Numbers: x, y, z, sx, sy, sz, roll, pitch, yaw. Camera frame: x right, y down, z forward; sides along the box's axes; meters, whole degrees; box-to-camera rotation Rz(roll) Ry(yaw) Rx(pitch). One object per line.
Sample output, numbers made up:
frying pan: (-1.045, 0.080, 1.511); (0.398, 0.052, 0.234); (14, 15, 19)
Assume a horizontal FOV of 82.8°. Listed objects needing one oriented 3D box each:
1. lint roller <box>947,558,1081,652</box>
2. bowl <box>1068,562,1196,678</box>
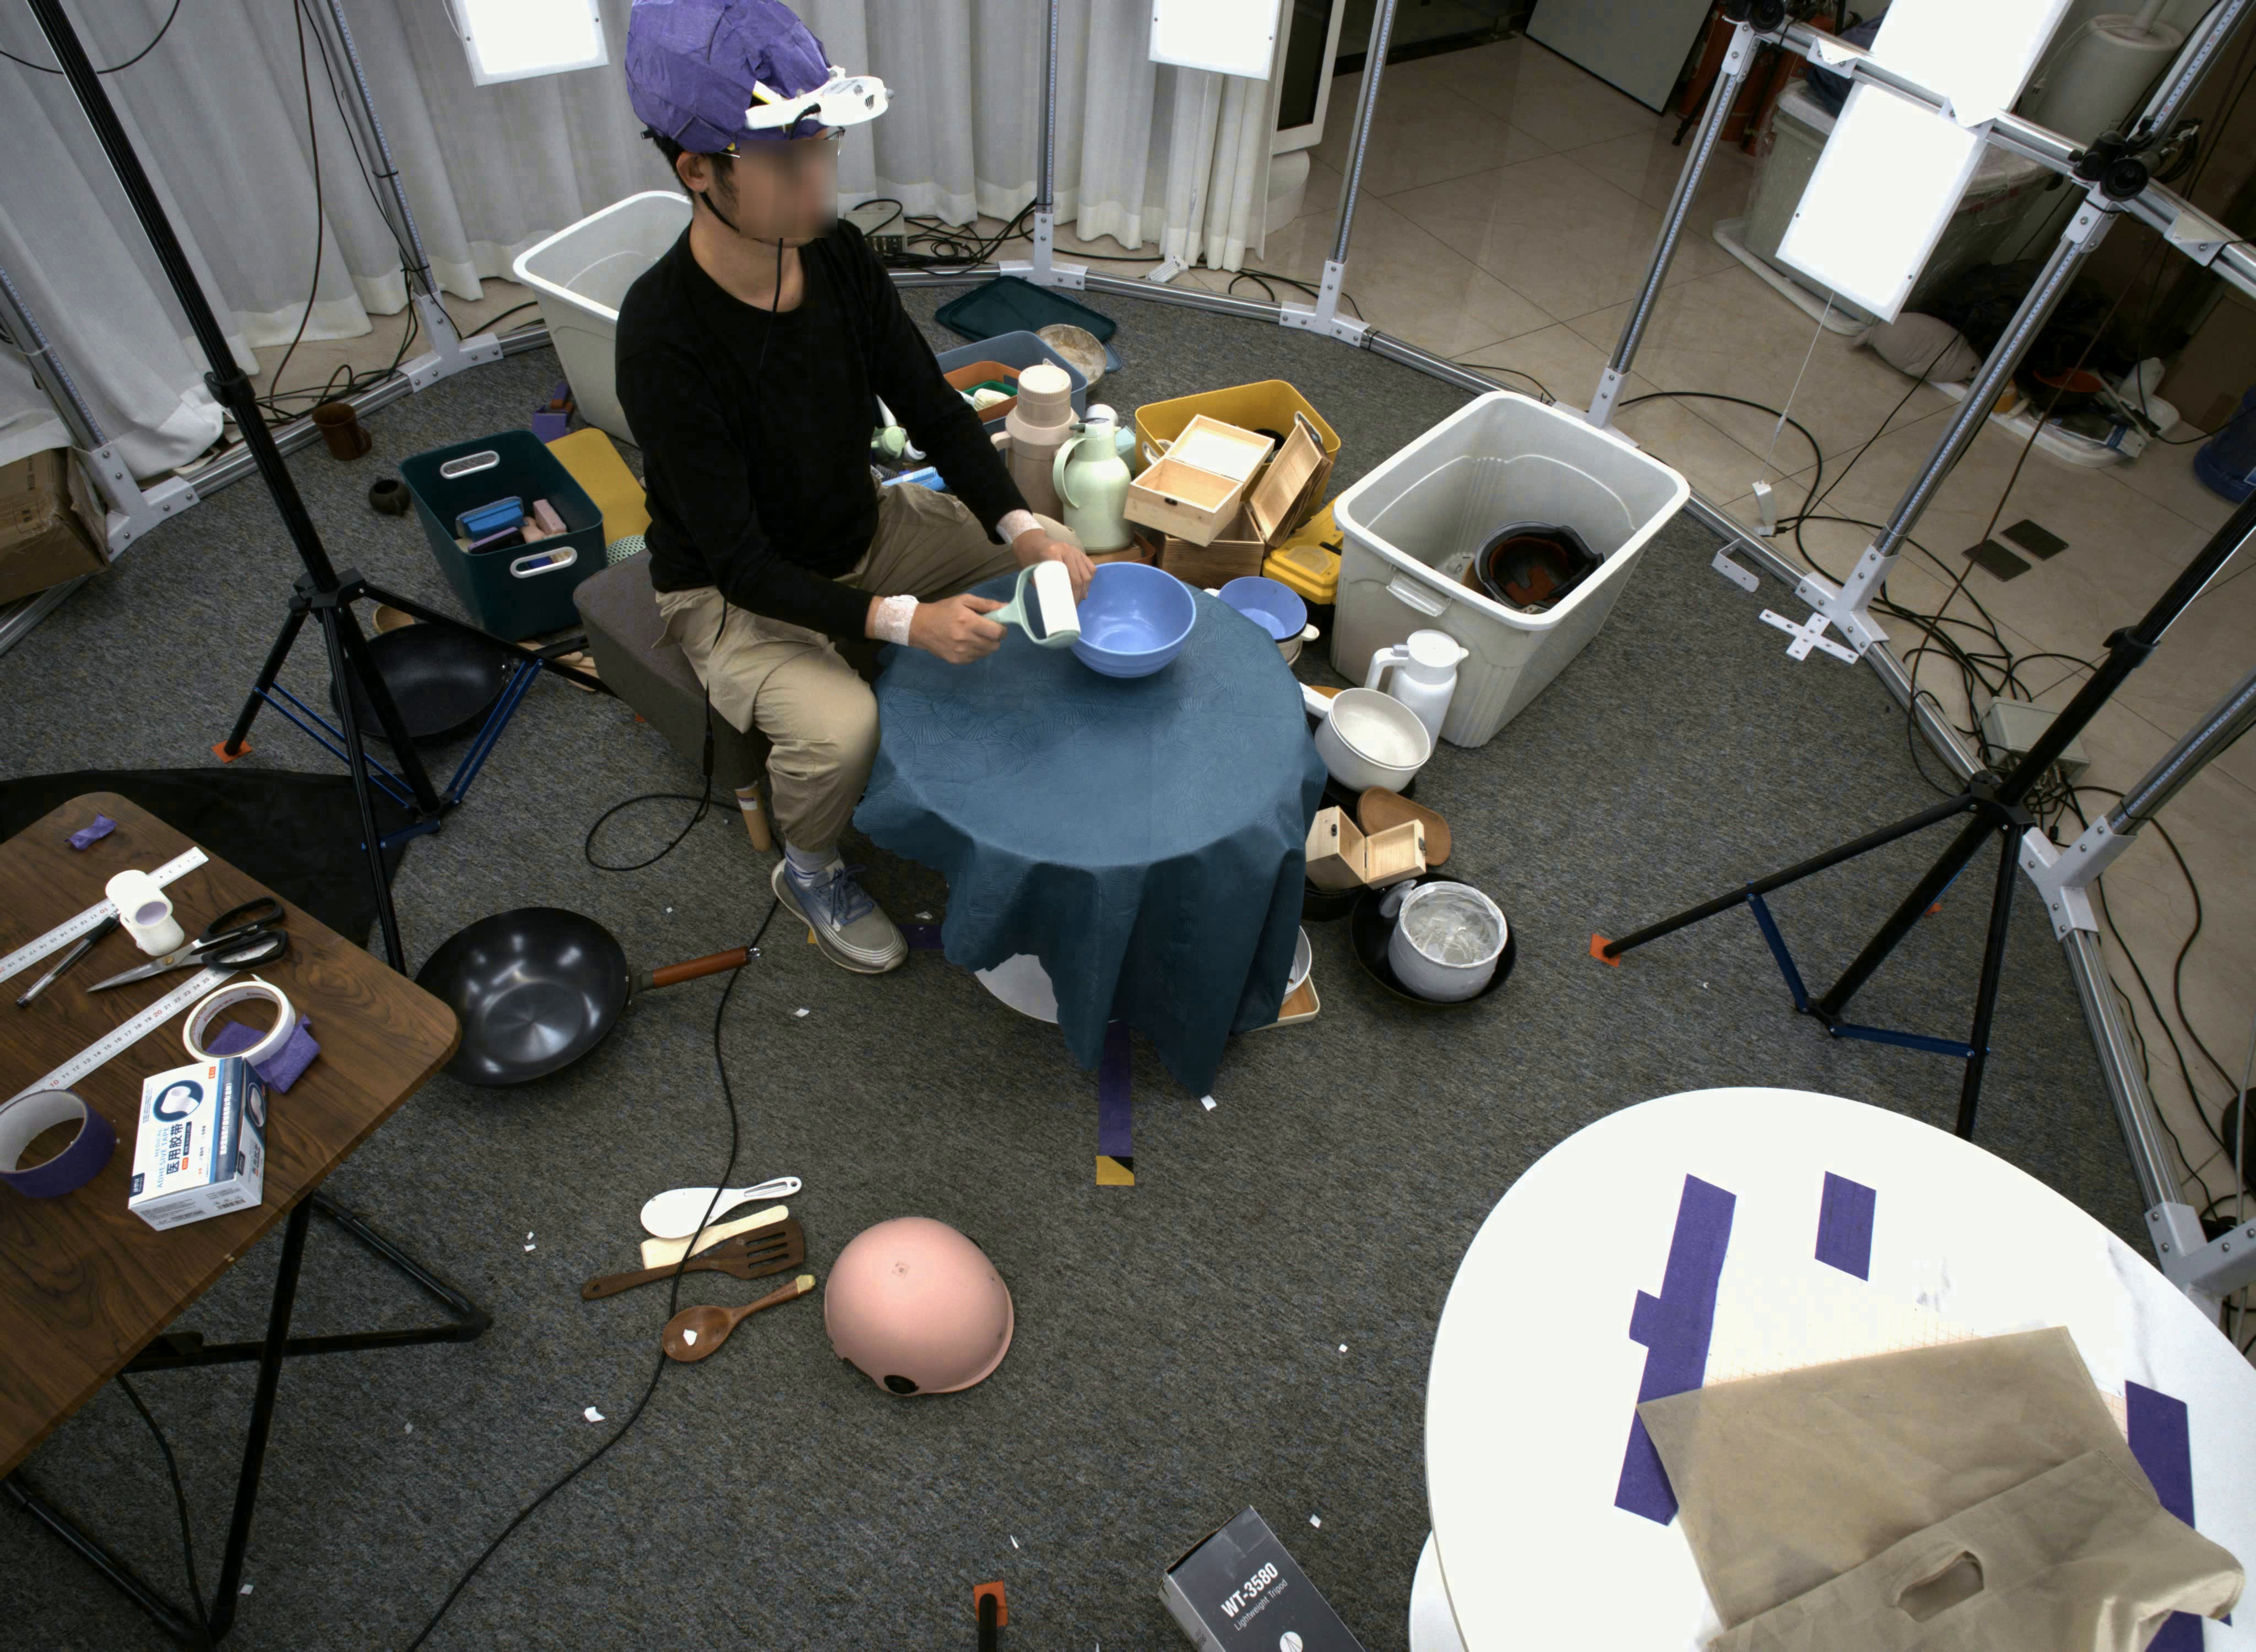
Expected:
lint roller: (-0.164, -0.284, 1.753); (0.197, 0.048, 0.118); (-16, 74, 16)
bowl: (-0.004, -0.281, 1.852); (0.196, 0.093, 0.201); (2, 50, -2)
